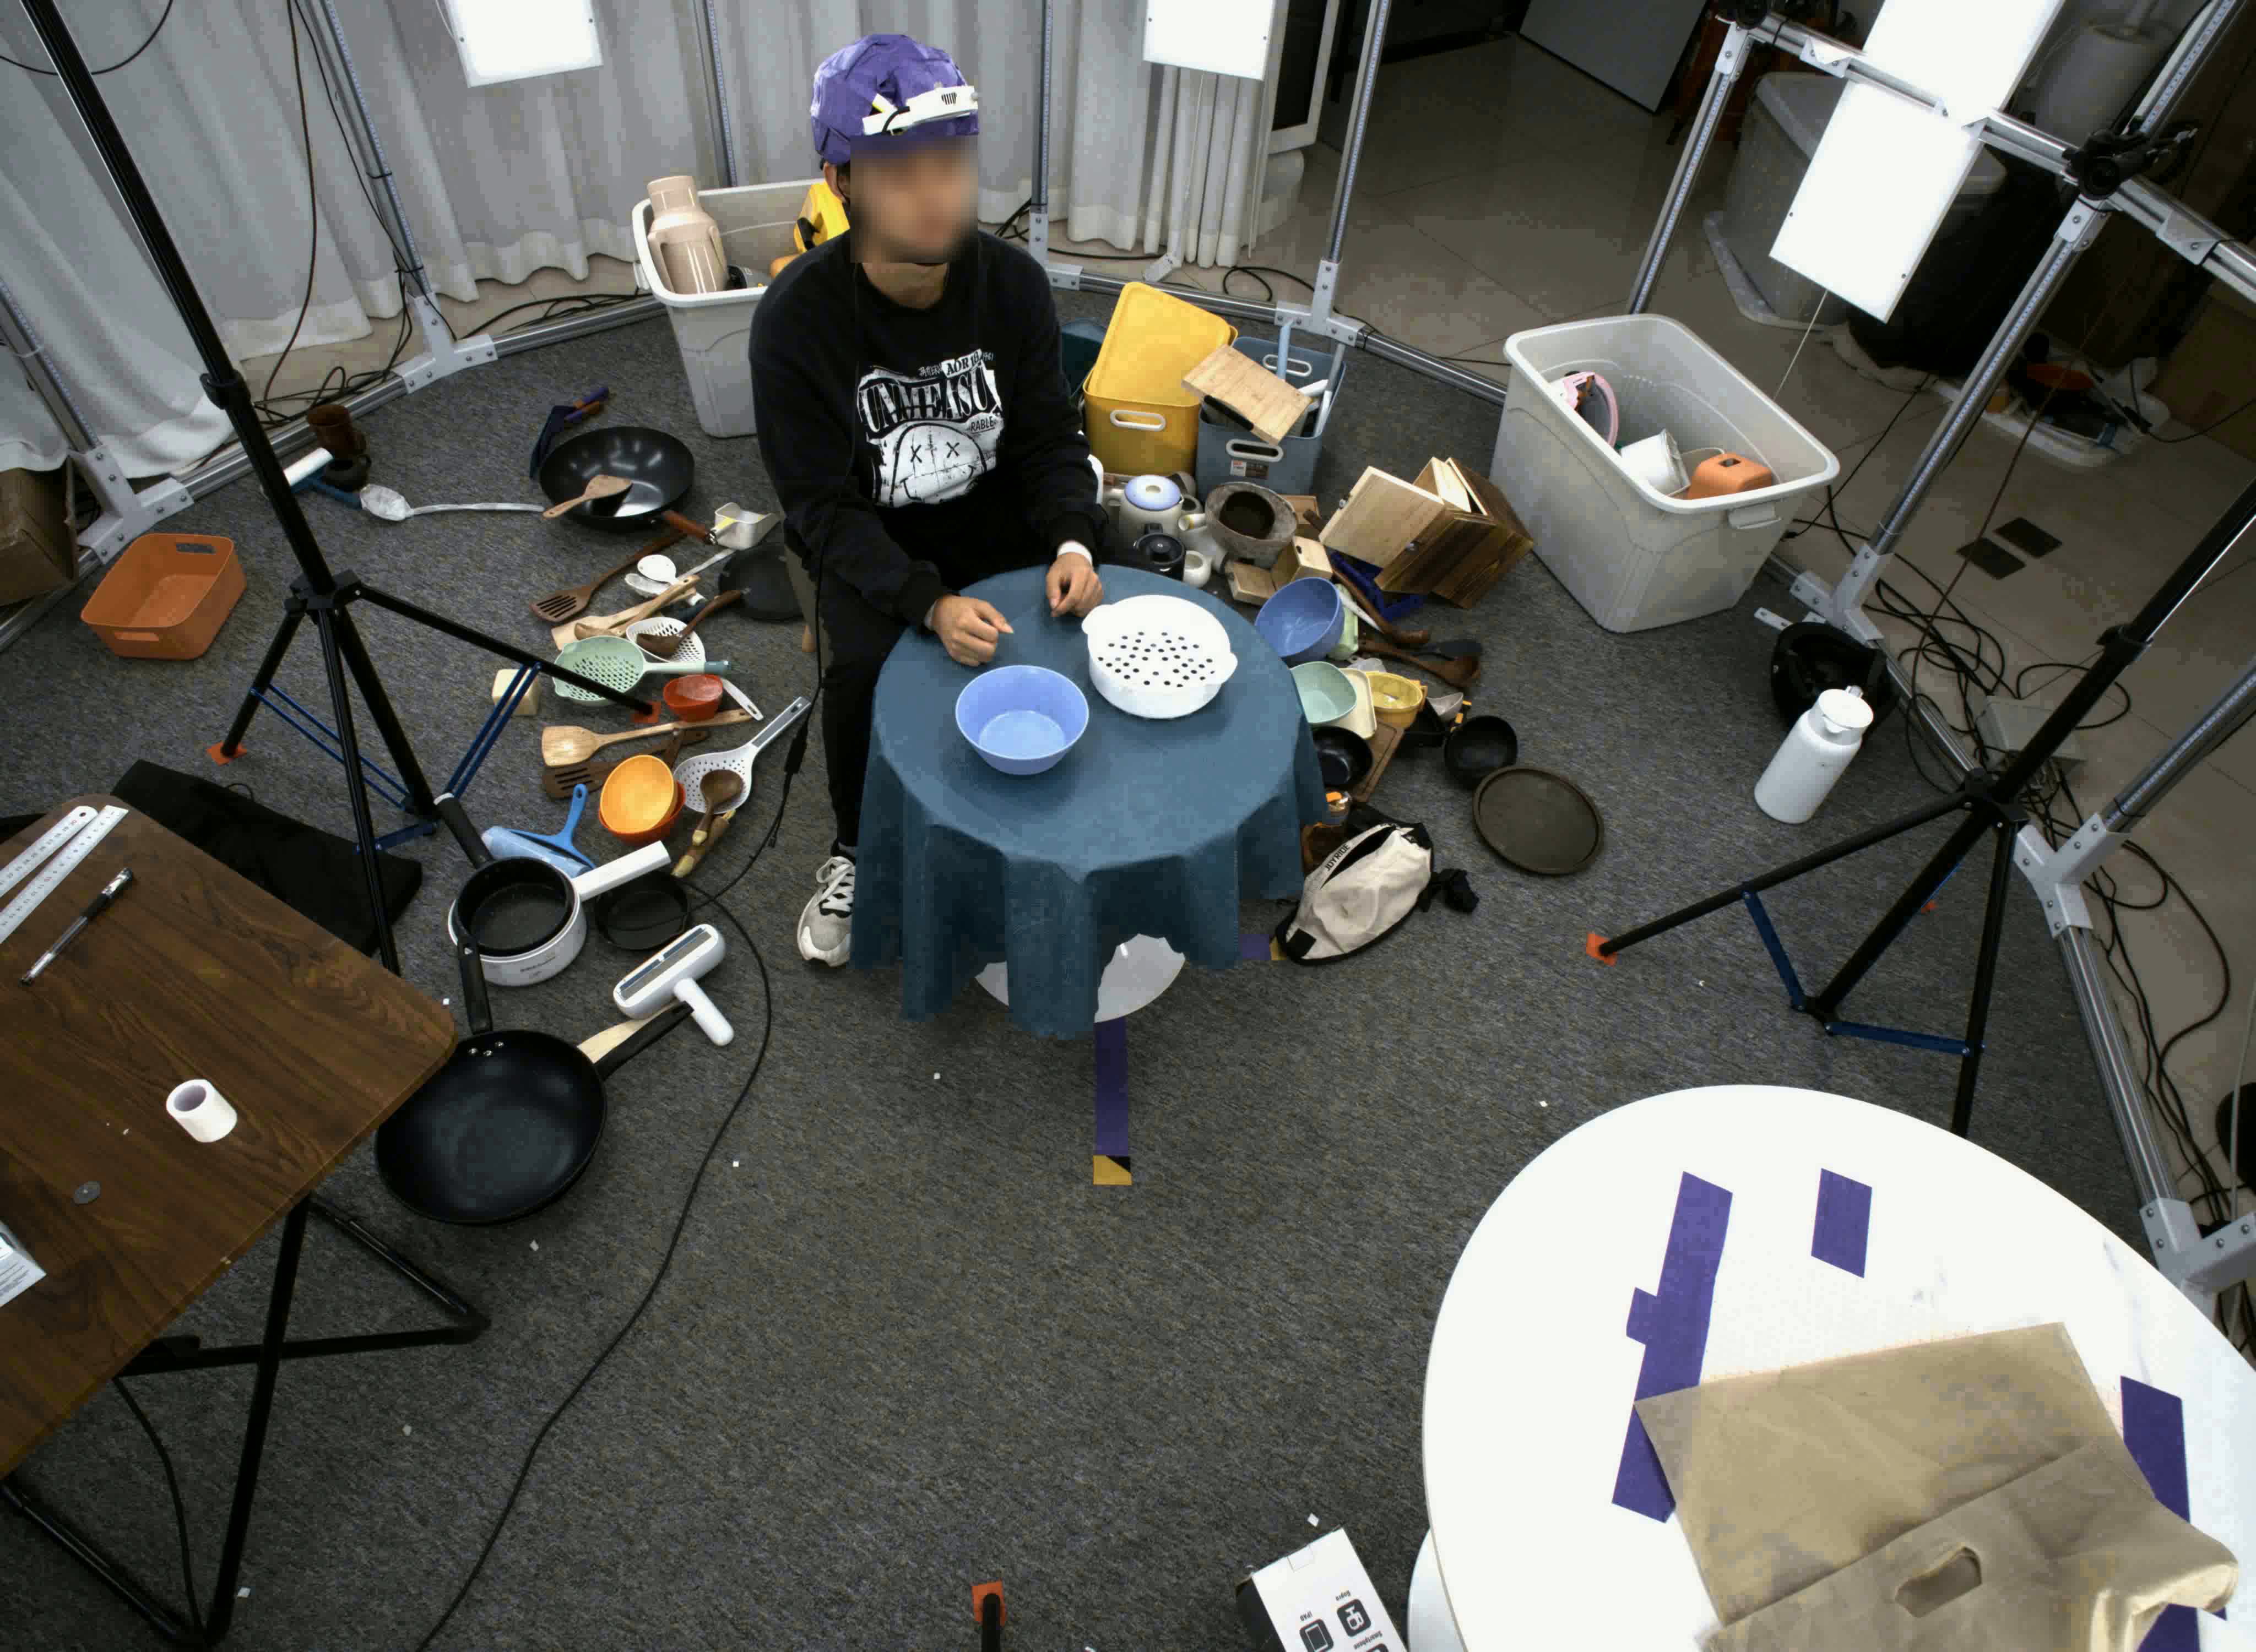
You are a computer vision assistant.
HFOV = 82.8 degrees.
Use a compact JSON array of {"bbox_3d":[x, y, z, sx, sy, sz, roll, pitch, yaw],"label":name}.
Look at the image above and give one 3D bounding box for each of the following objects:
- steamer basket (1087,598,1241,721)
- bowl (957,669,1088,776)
[{"bbox_3d":[0.048,-0.239,1.852,0.232,0.067,0.205,24,52,14],"label":"steamer basket"},{"bbox_3d":[-0.143,-0.132,1.743,0.176,0.068,0.180,2,48,-3],"label":"bowl"}]
